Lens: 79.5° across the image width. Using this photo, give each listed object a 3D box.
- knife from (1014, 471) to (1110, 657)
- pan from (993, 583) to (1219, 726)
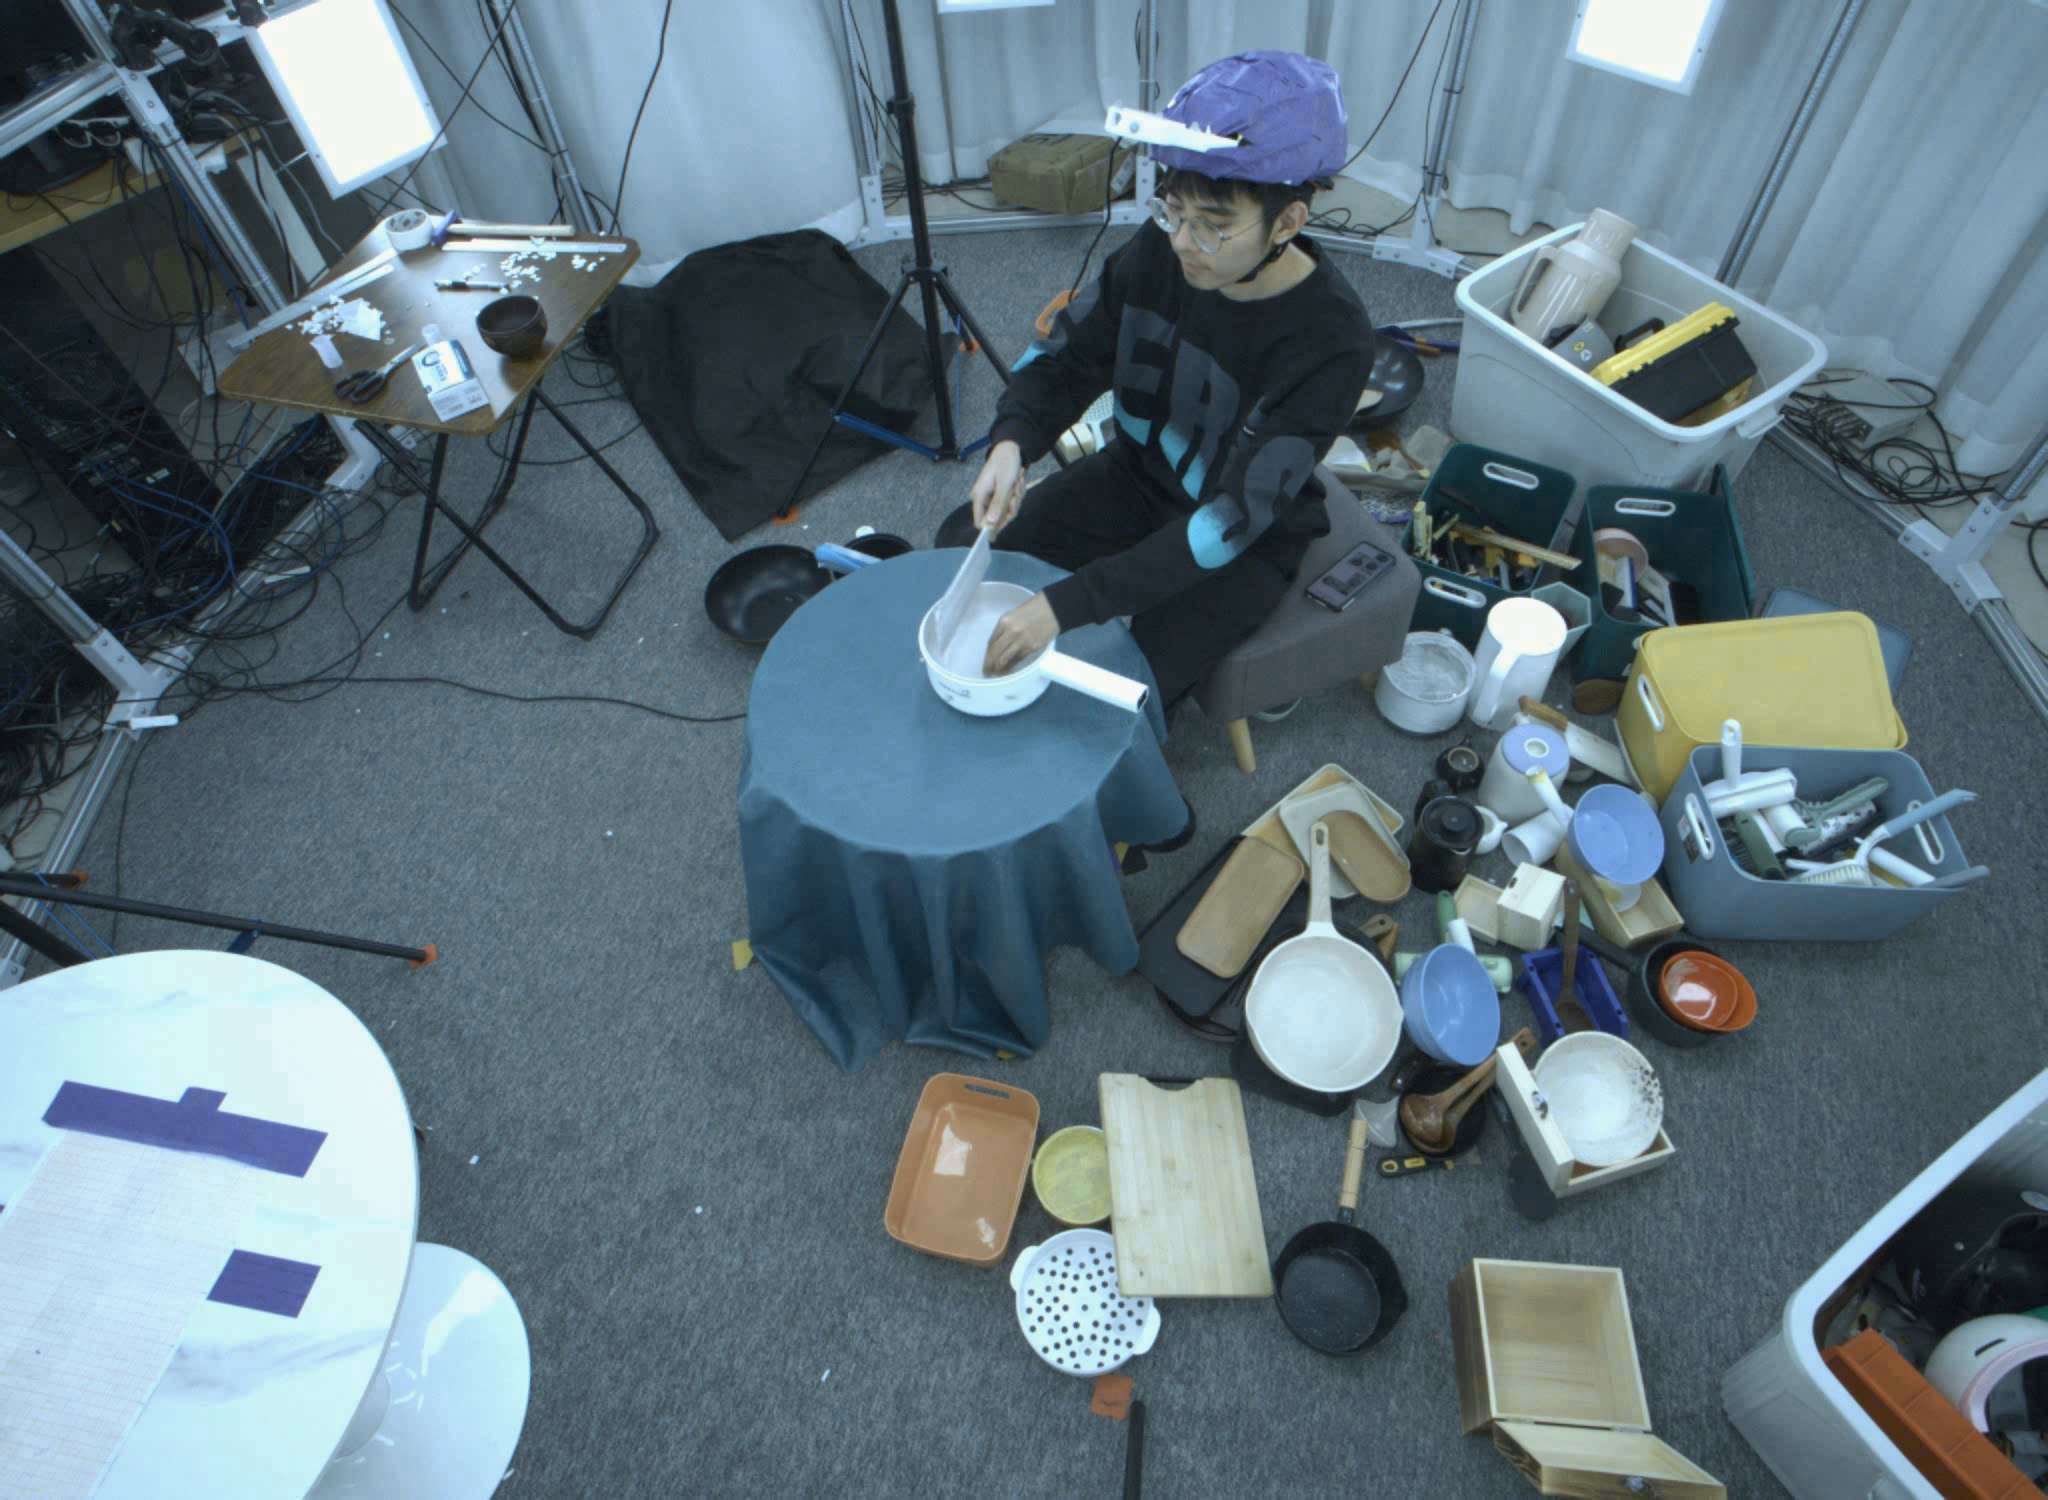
[{"bbox_3d":[0.052,-0.278,1.770,0.021,0.115,0.315,22,70,14],"label":"knife"},{"bbox_3d":[0.120,-0.110,1.801,0.349,0.103,0.202,28,59,20],"label":"pan"}]
